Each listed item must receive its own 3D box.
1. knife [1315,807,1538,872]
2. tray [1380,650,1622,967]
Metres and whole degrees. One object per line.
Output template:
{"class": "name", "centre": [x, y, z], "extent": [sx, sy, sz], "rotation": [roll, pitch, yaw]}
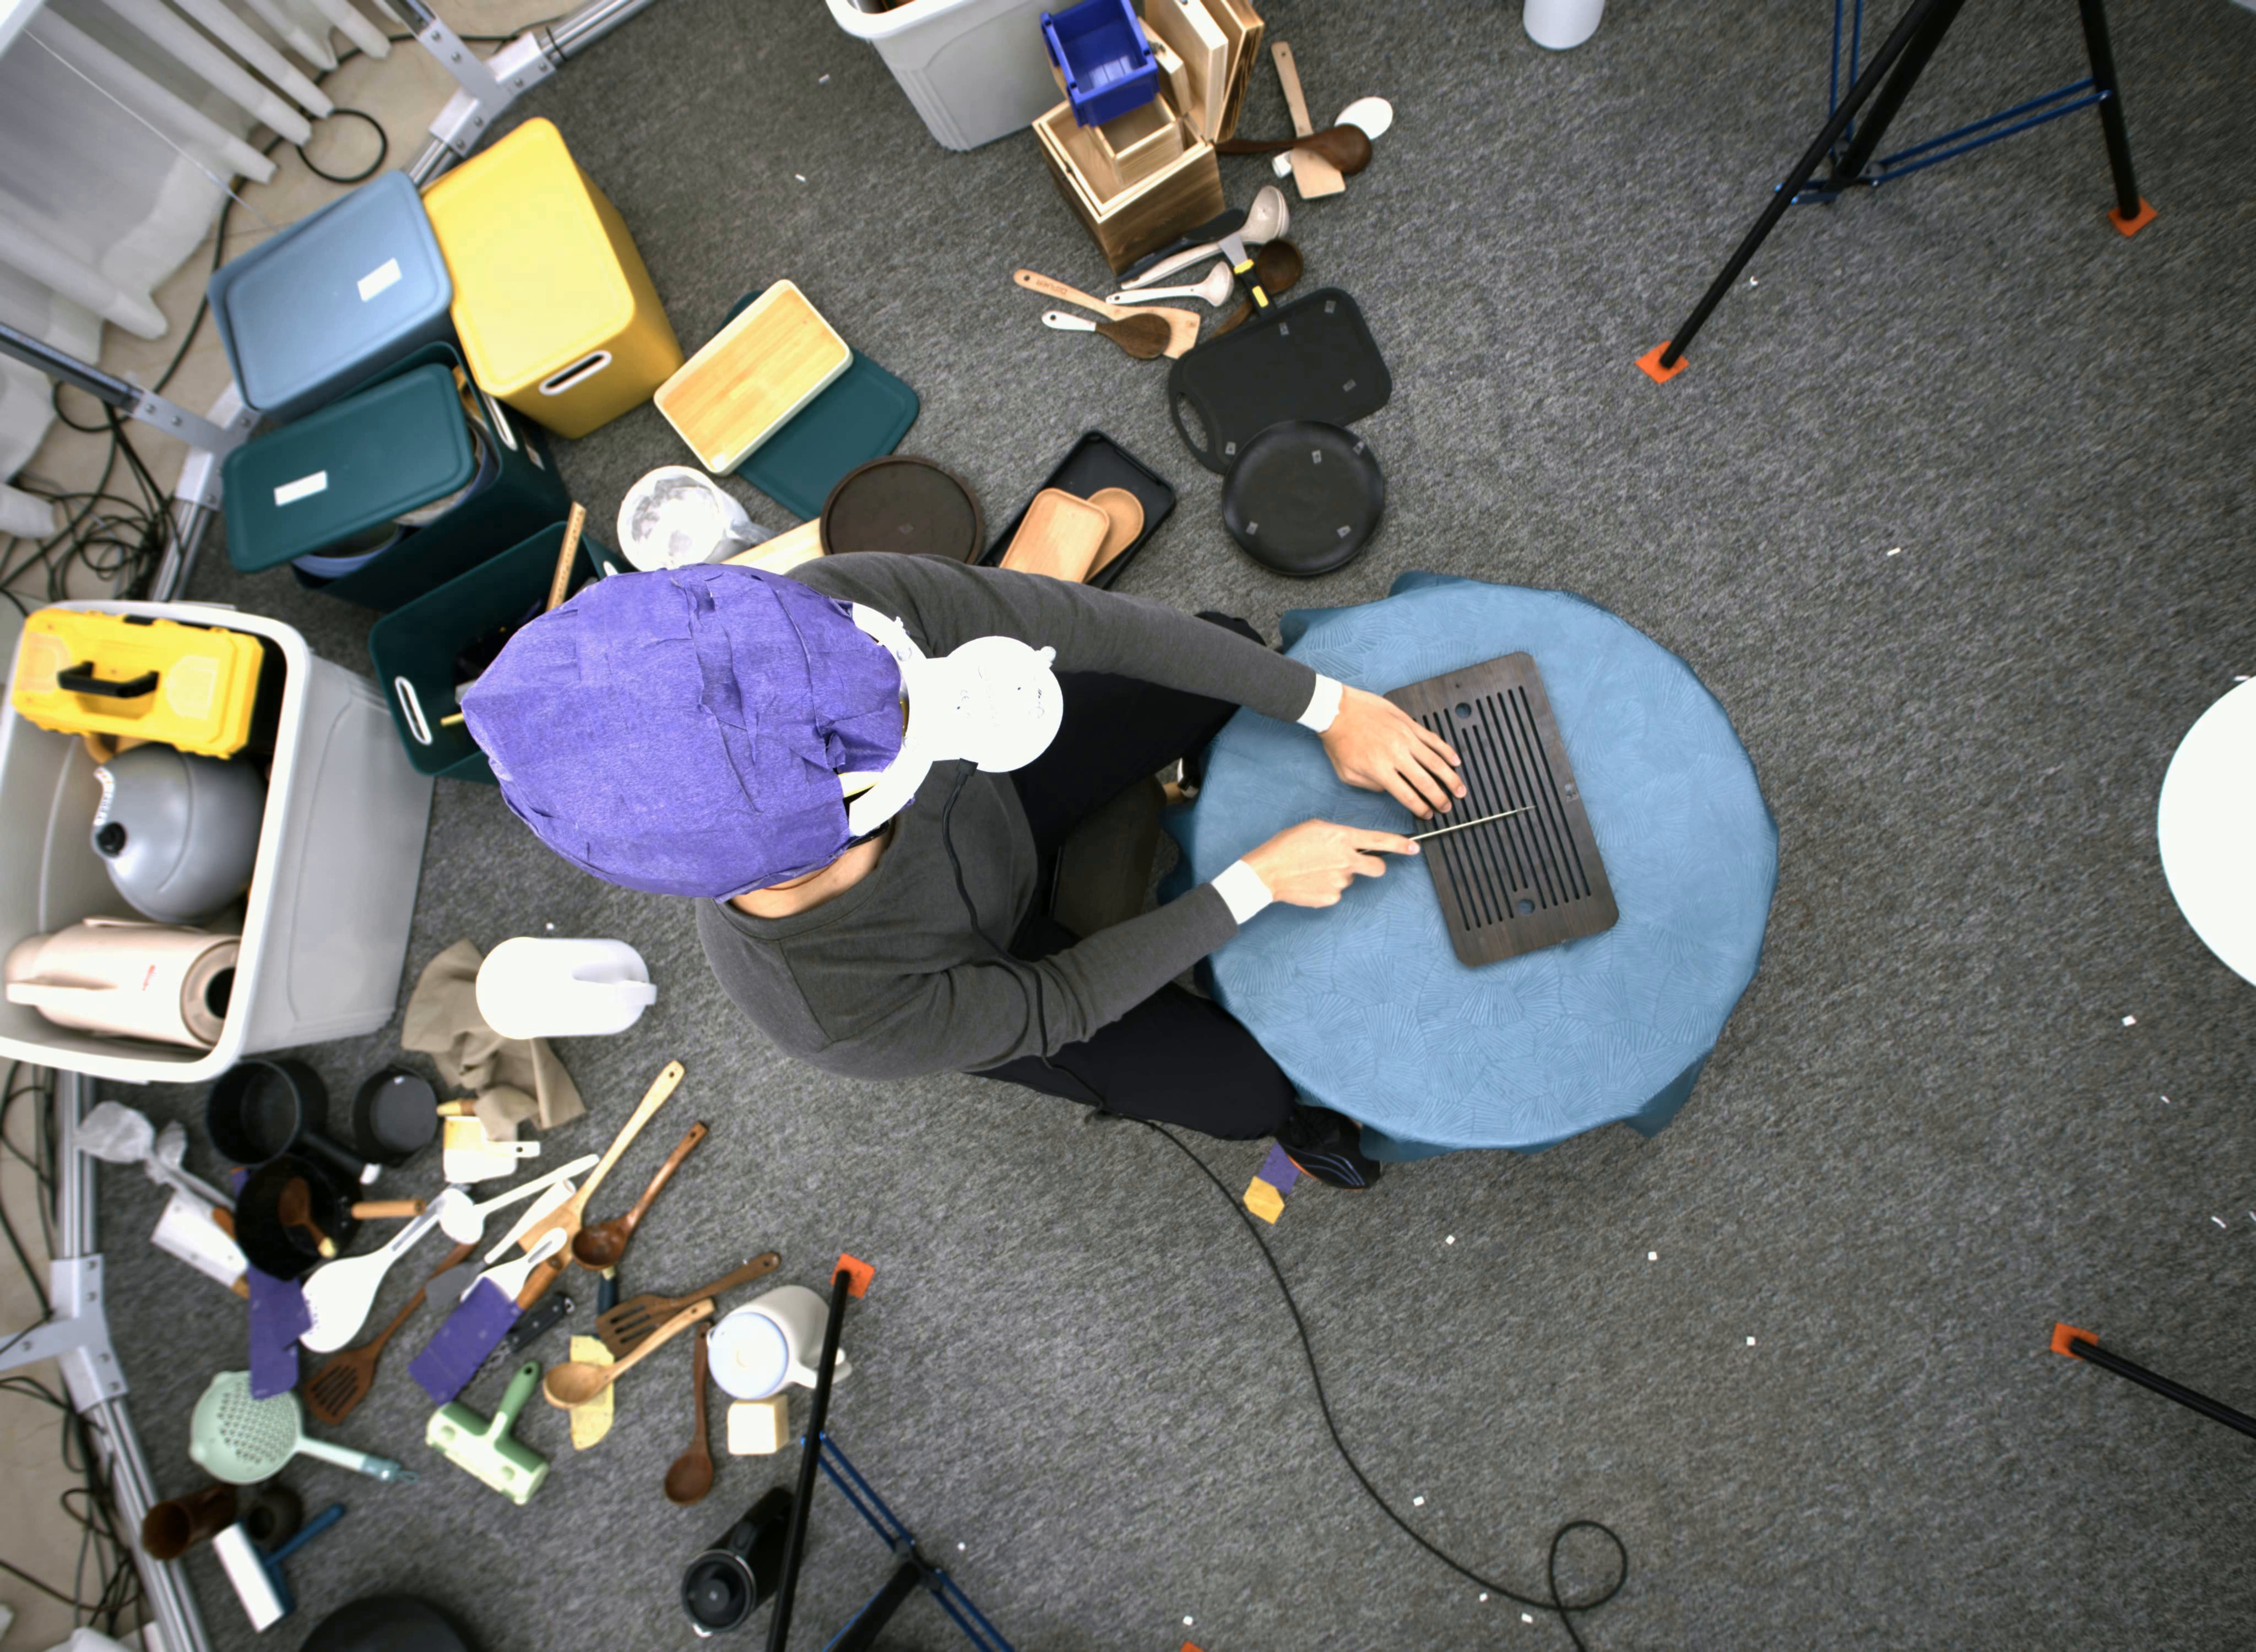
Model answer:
{"class": "knife", "centre": [0.309, 0.008, 1.421], "extent": [0.239, 0.025, 0.016], "rotation": [-15, 72, 3]}
{"class": "tray", "centre": [0.387, -0.021, 1.434], "extent": [0.171, 0.018, 0.304], "rotation": [-17, 84, 10]}
